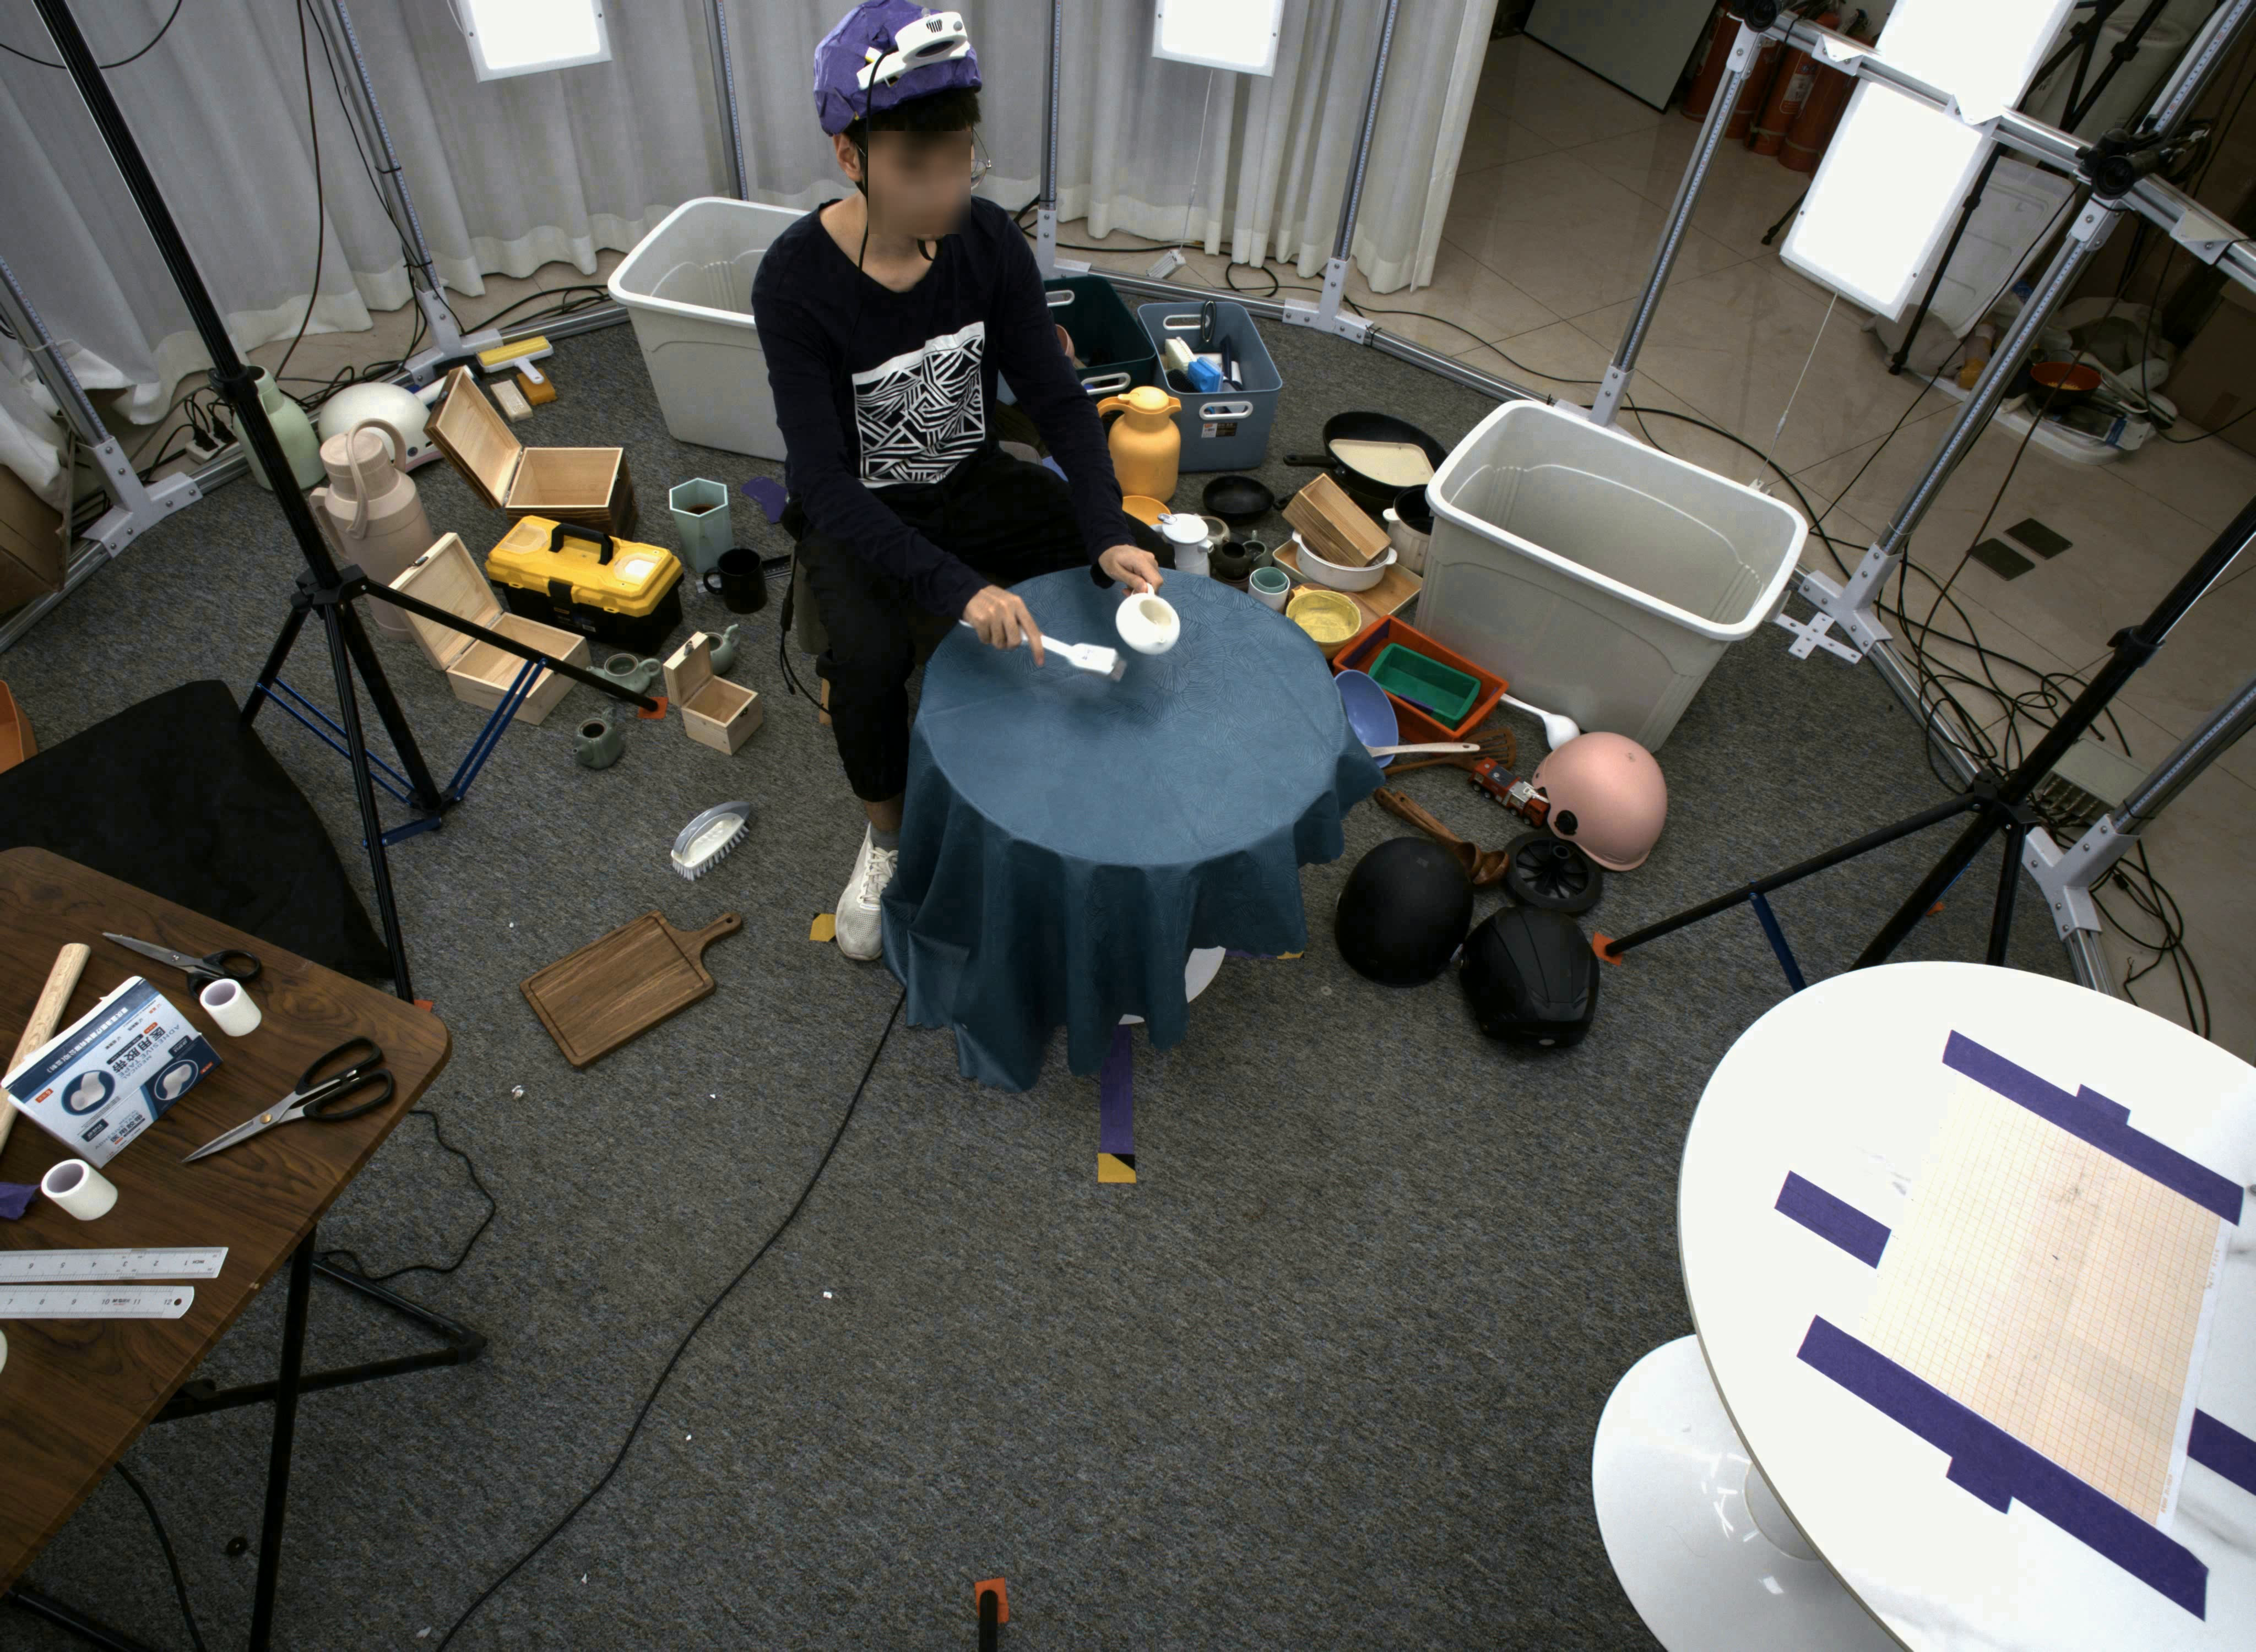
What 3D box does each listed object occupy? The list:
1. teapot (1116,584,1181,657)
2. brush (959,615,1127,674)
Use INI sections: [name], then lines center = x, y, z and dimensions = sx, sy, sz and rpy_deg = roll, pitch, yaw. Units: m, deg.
[teapot]
center = 0.026, -0.290, 1.810
dimensions = 0.093, 0.055, 0.130
rpy_deg = 3, 52, -28
[brush]
center = -0.119, -0.254, 1.794
dimensions = 0.245, 0.049, 0.034
rpy_deg = 15, 81, 15
